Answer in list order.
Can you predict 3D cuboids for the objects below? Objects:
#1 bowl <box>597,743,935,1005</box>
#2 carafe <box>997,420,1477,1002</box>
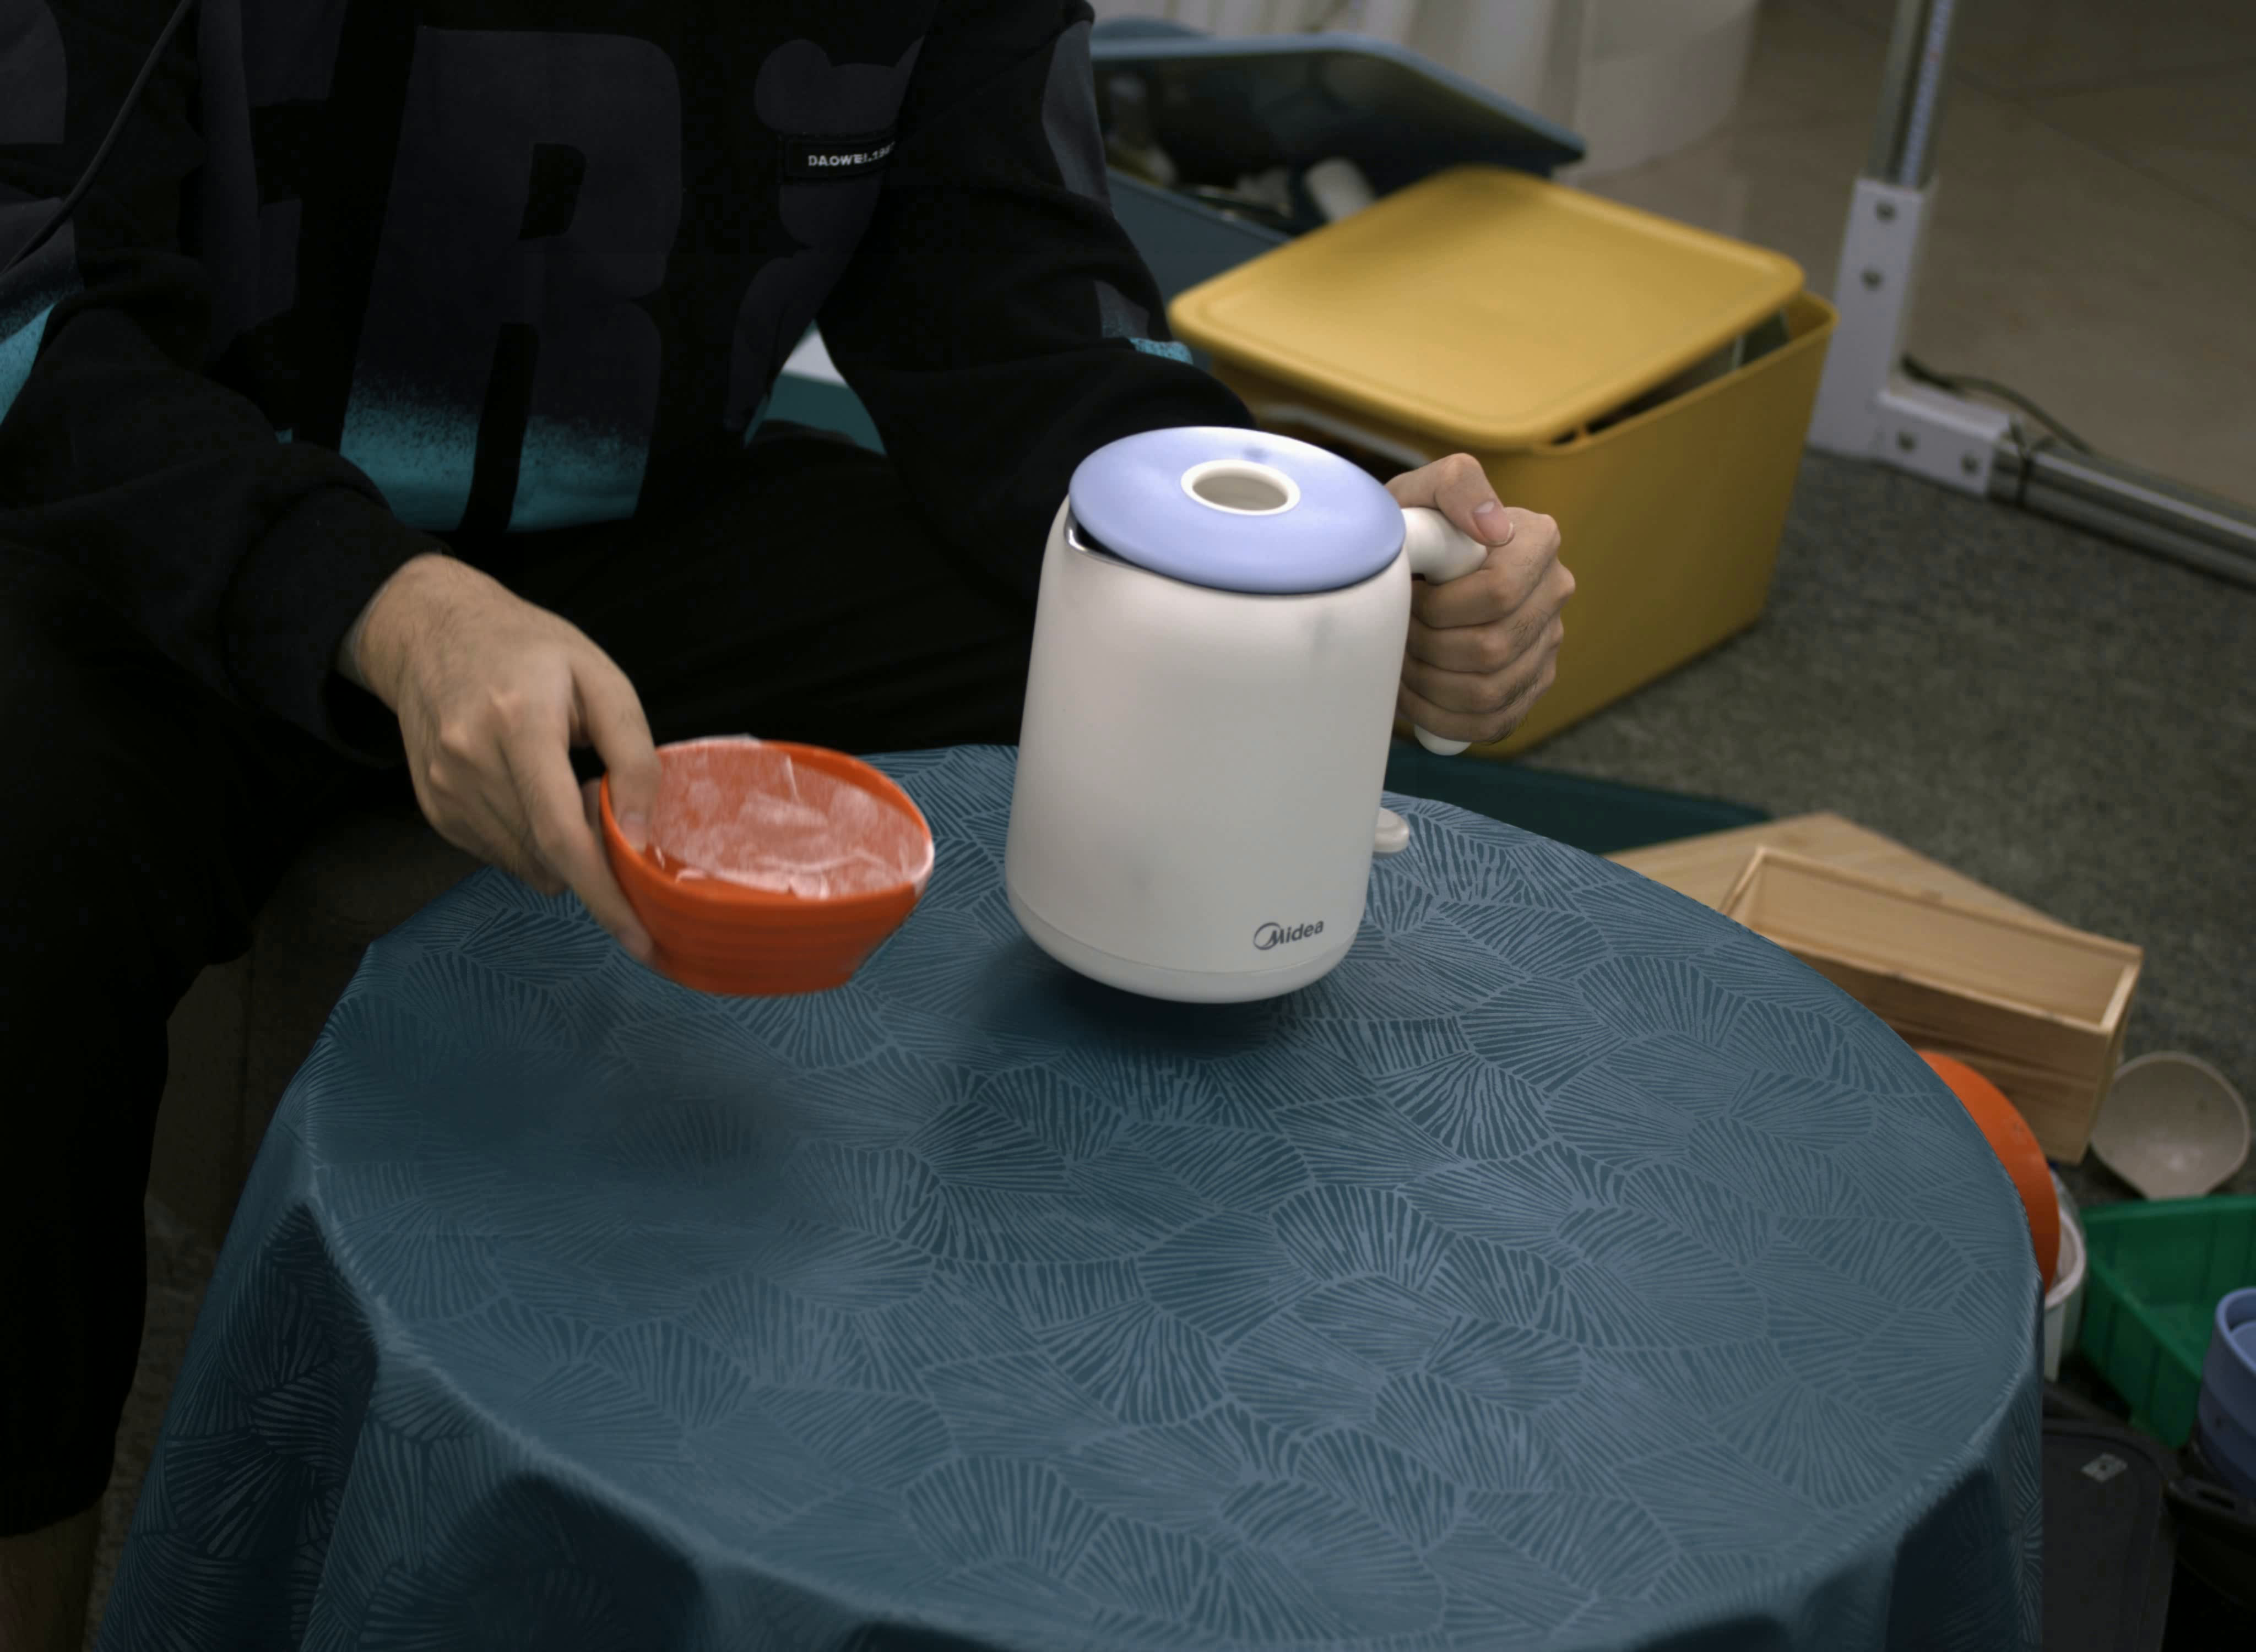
[{"bbox_3d":[-0.124,0.021,1.787,0.118,0.051,0.120,6,30,-4],"label":"bowl"},{"bbox_3d":[0.047,-0.045,1.898,0.190,0.182,0.133,-10,34,-34],"label":"carafe"}]
